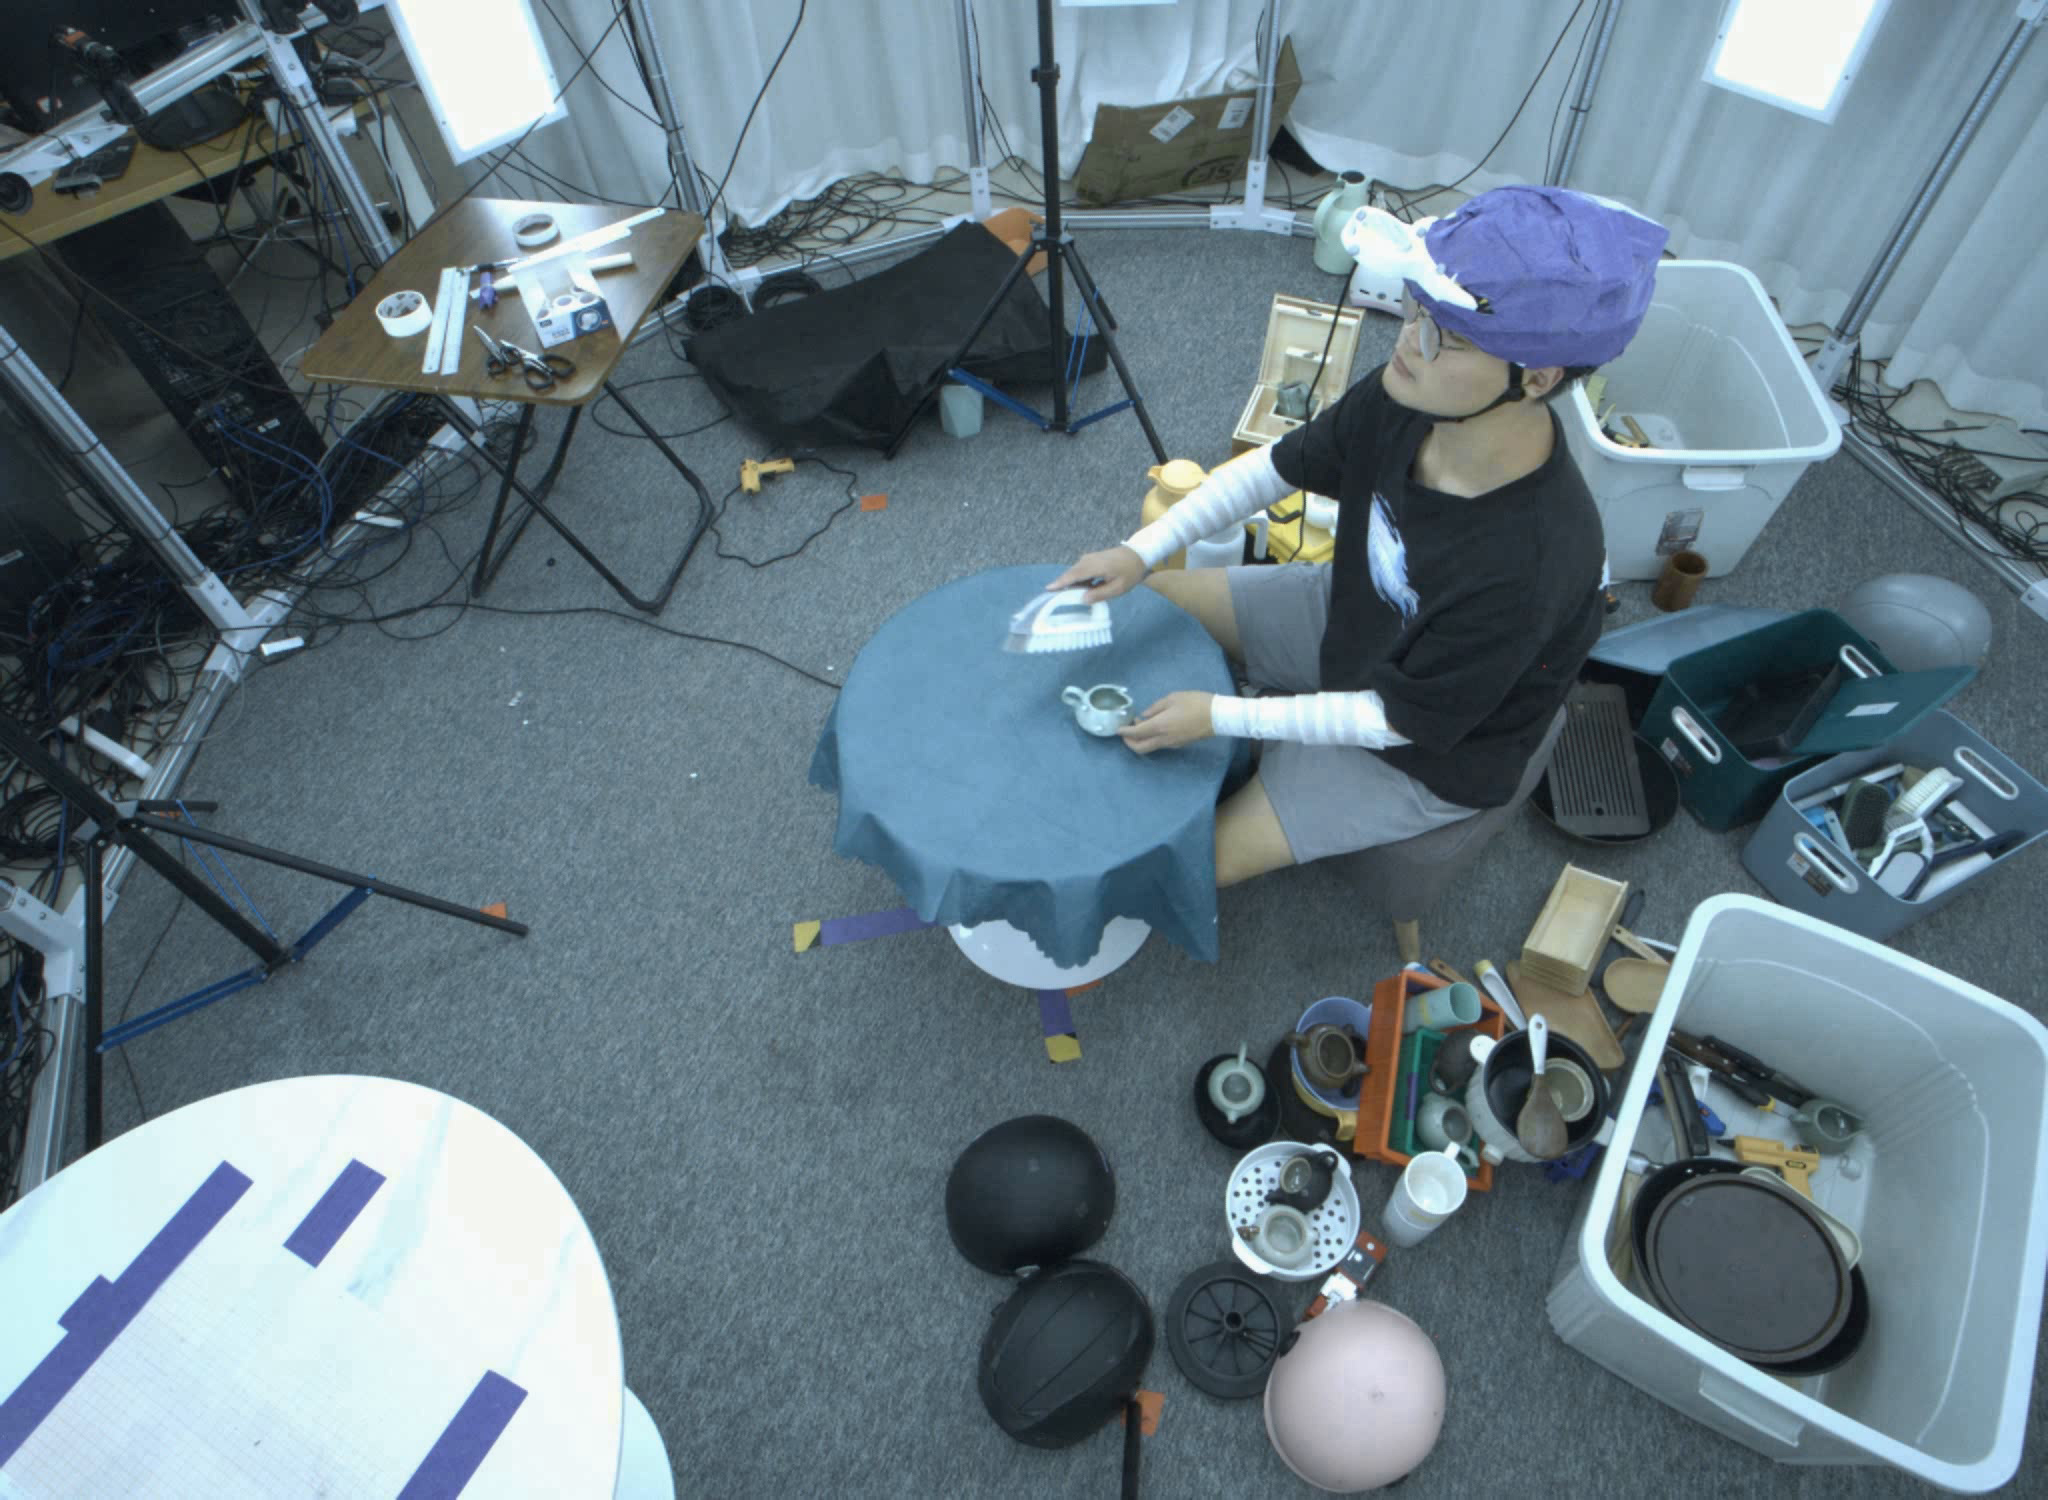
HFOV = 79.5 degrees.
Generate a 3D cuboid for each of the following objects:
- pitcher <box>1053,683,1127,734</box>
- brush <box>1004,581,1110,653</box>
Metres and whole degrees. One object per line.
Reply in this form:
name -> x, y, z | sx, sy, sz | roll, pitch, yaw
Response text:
pitcher -> 0.095, -0.065, 1.787 | 0.107, 0.061, 0.085 | 9, 55, 11
brush -> 0.042, -0.193, 1.777 | 0.178, 0.095, 0.060 | -14, 22, -33
